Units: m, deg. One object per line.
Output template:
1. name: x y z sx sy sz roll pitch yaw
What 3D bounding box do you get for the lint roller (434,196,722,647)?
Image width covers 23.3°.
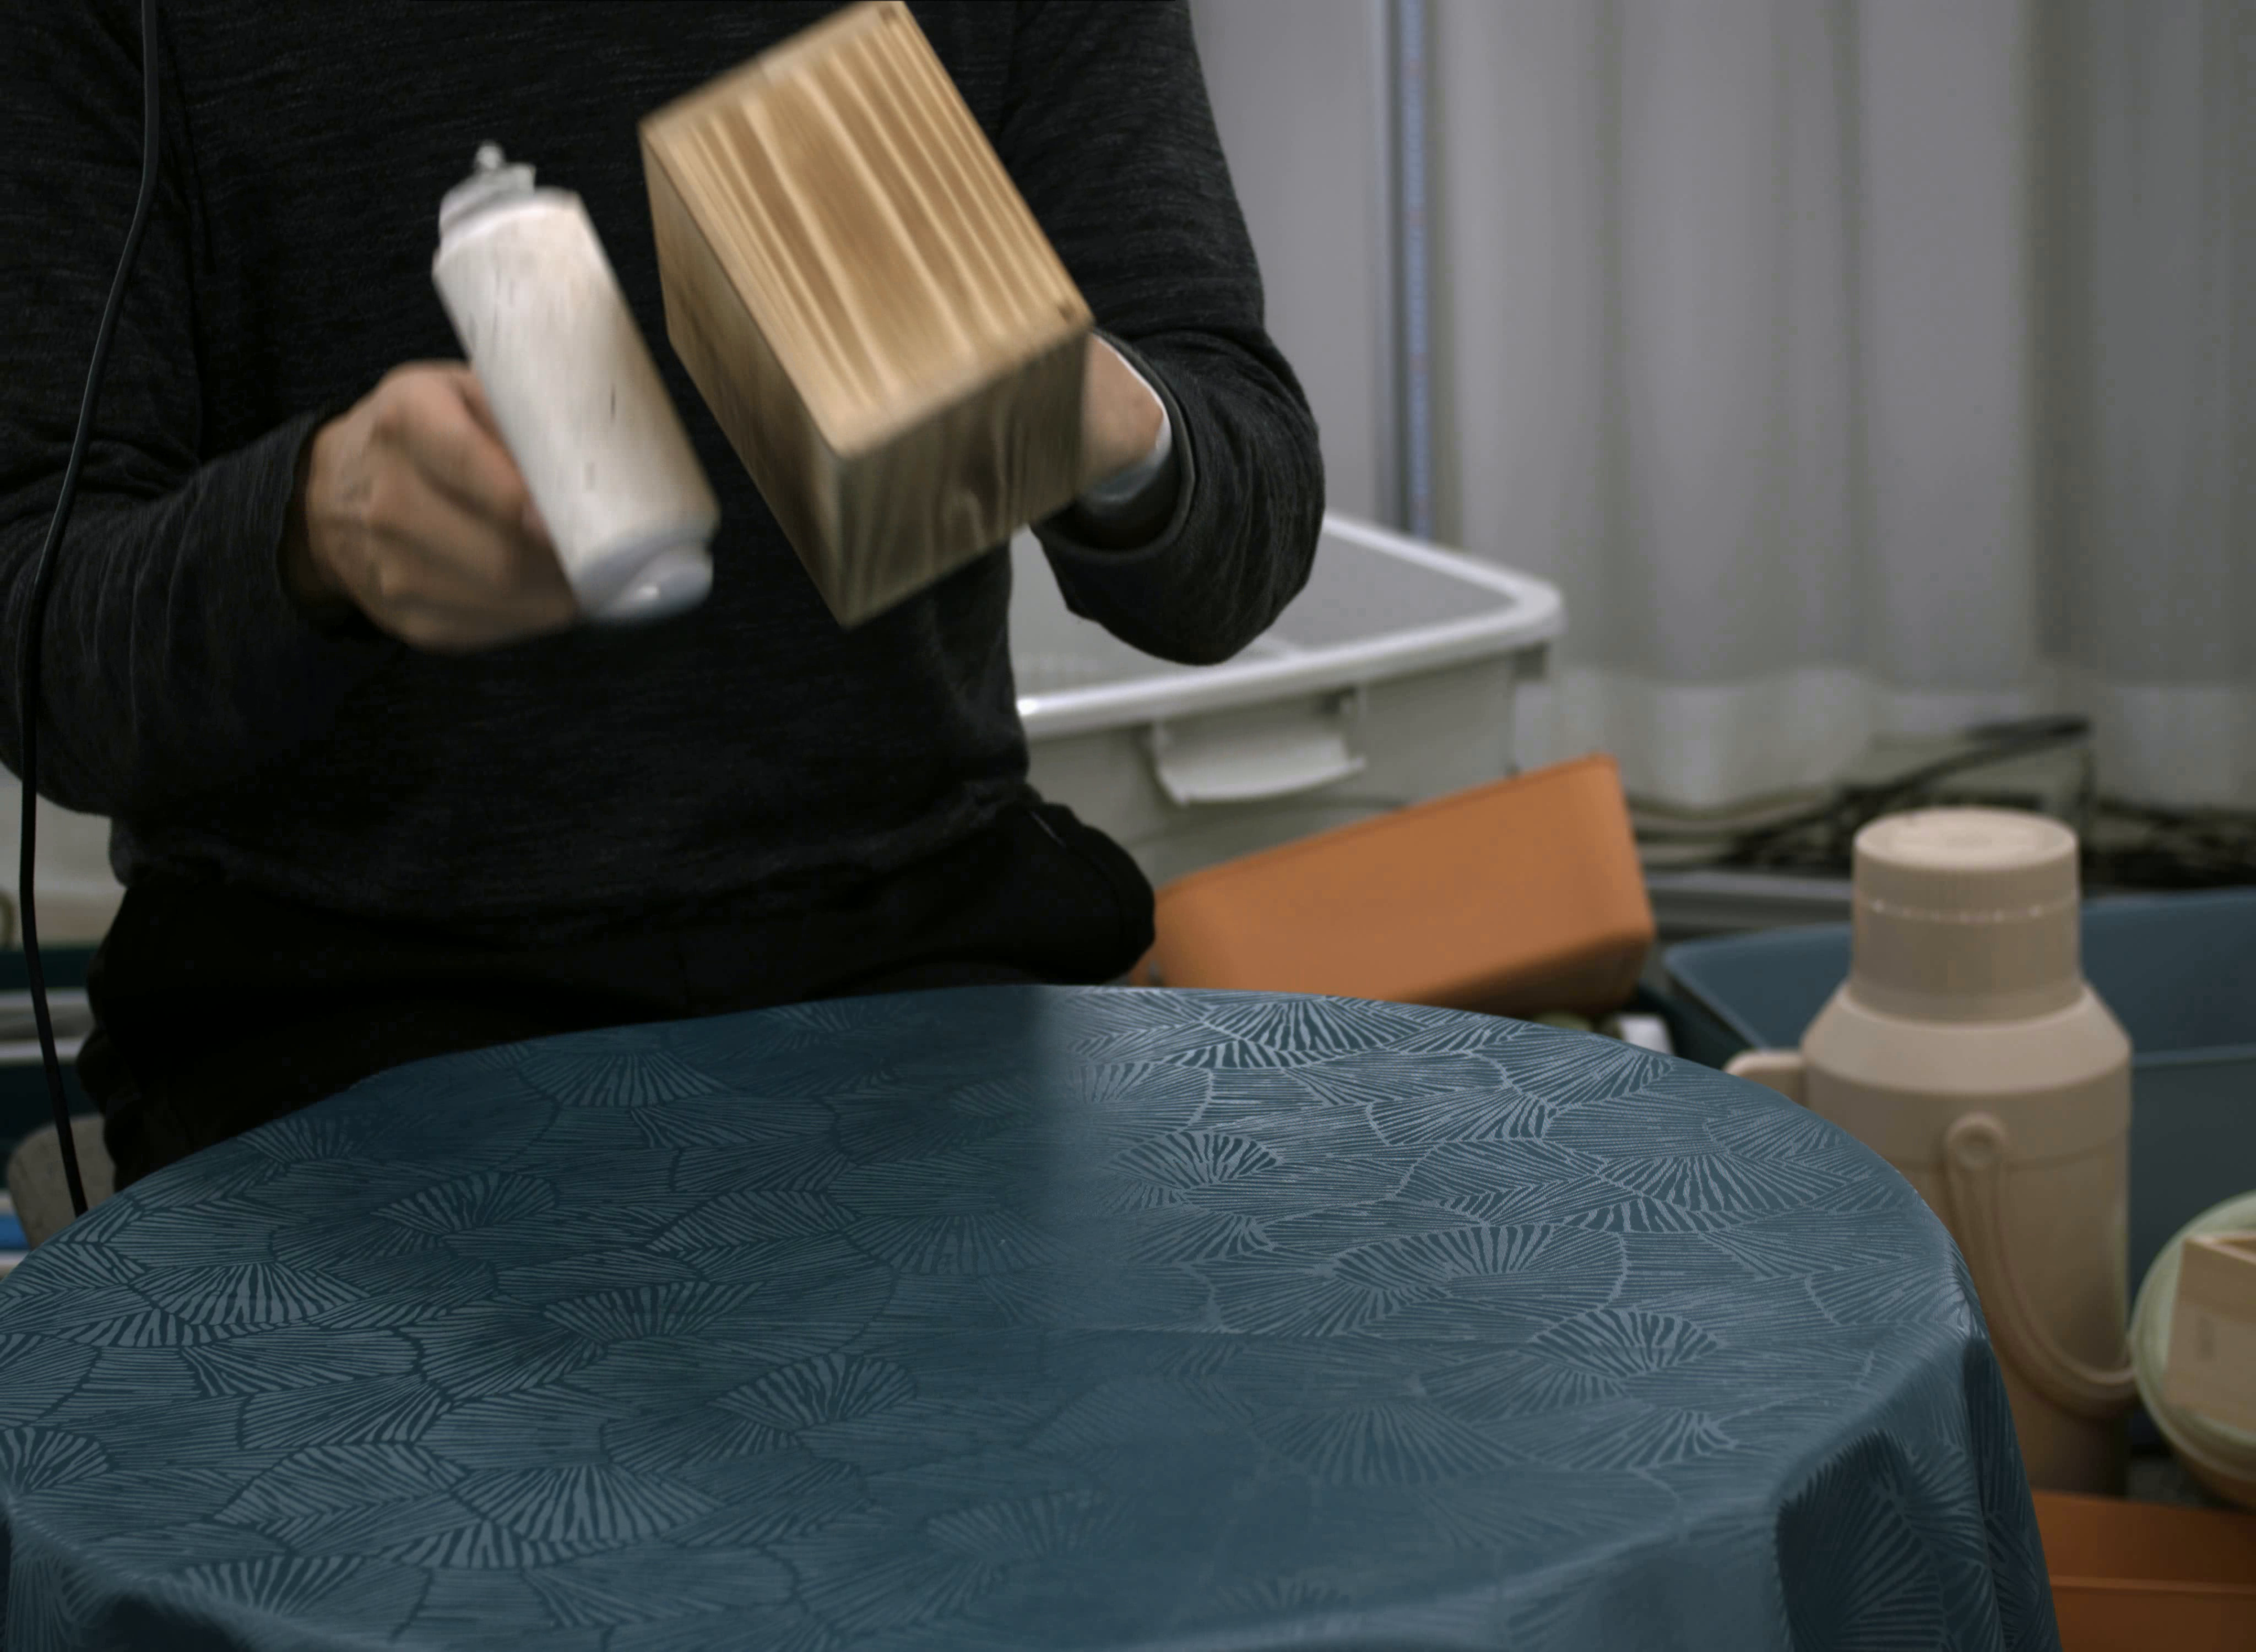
1. lint roller: -0.183 -0.097 1.603 0.050 0.133 0.180 -21 -6 -31

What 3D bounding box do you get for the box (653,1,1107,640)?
1. box: -0.072 -0.138 1.553 0.080 0.108 0.210 -30 -7 -8
